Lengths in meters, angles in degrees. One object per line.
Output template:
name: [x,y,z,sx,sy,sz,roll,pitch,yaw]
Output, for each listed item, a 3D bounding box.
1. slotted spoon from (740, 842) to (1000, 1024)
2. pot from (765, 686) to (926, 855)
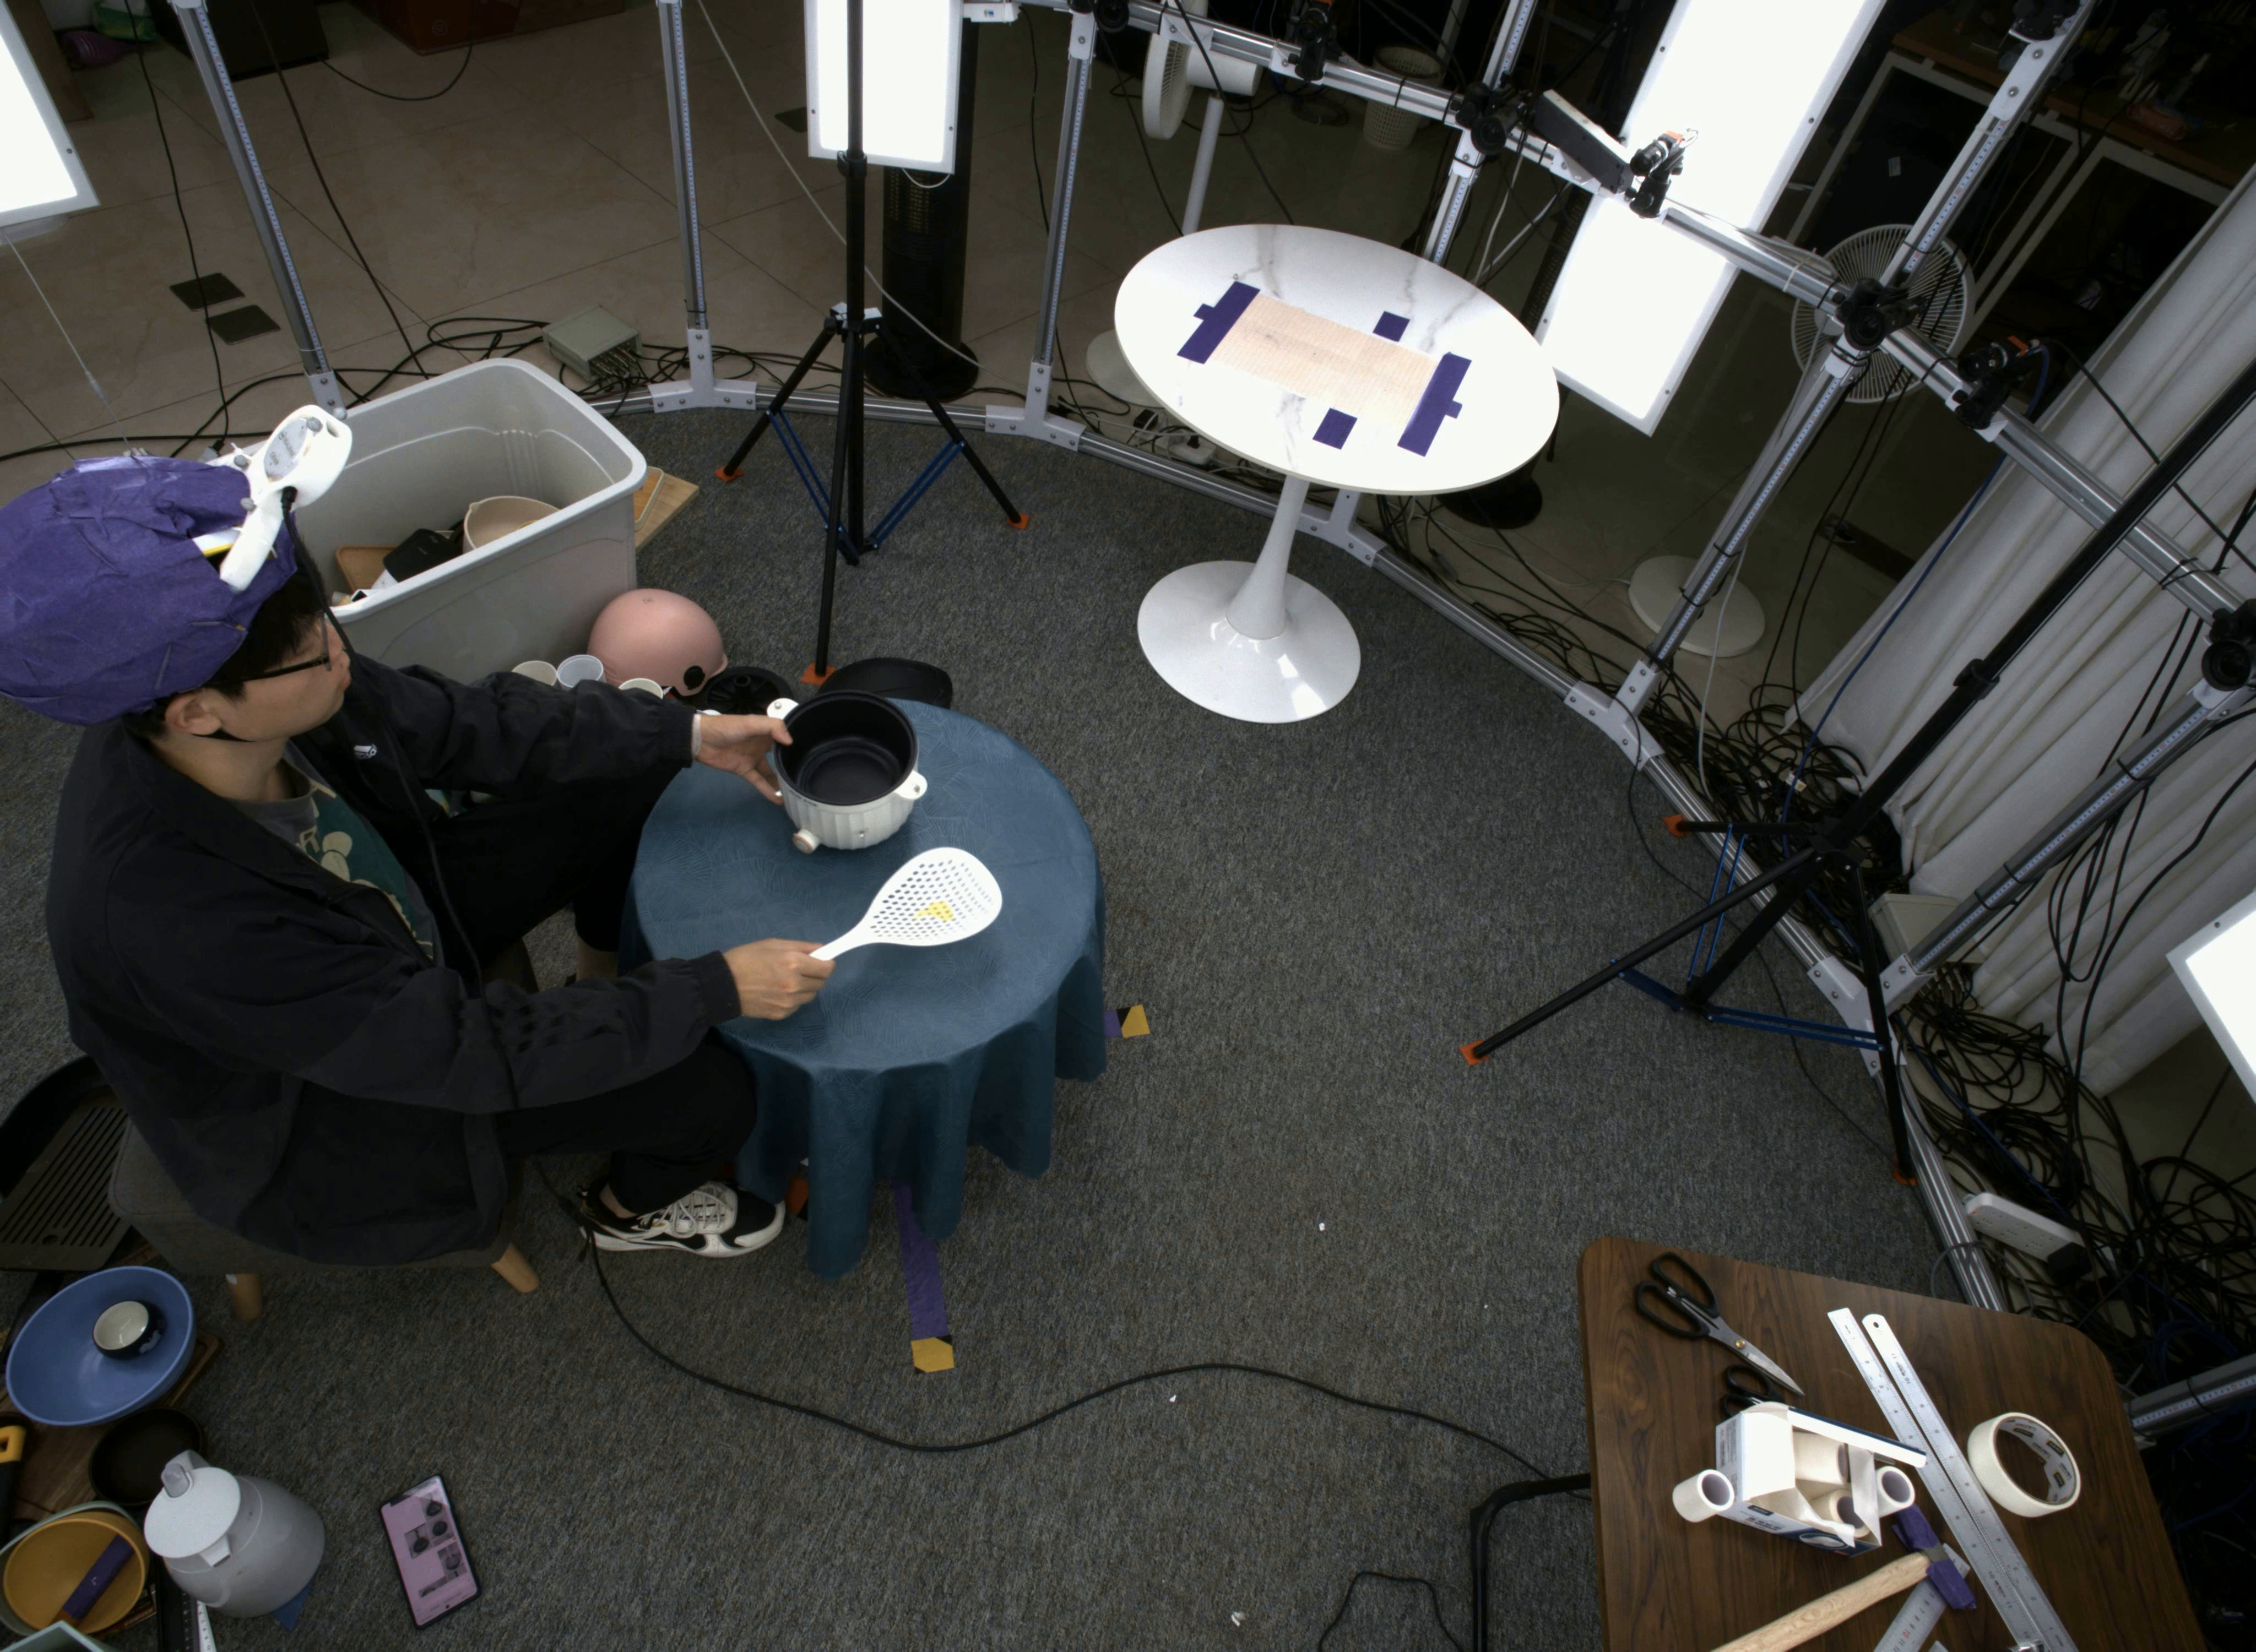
slotted spoon: [-0.315,0.133,1.568,0.349,0.051,0.134,-28,66,-31]
pot: [-0.367,-0.063,1.682,0.236,0.146,0.190,28,54,10]
